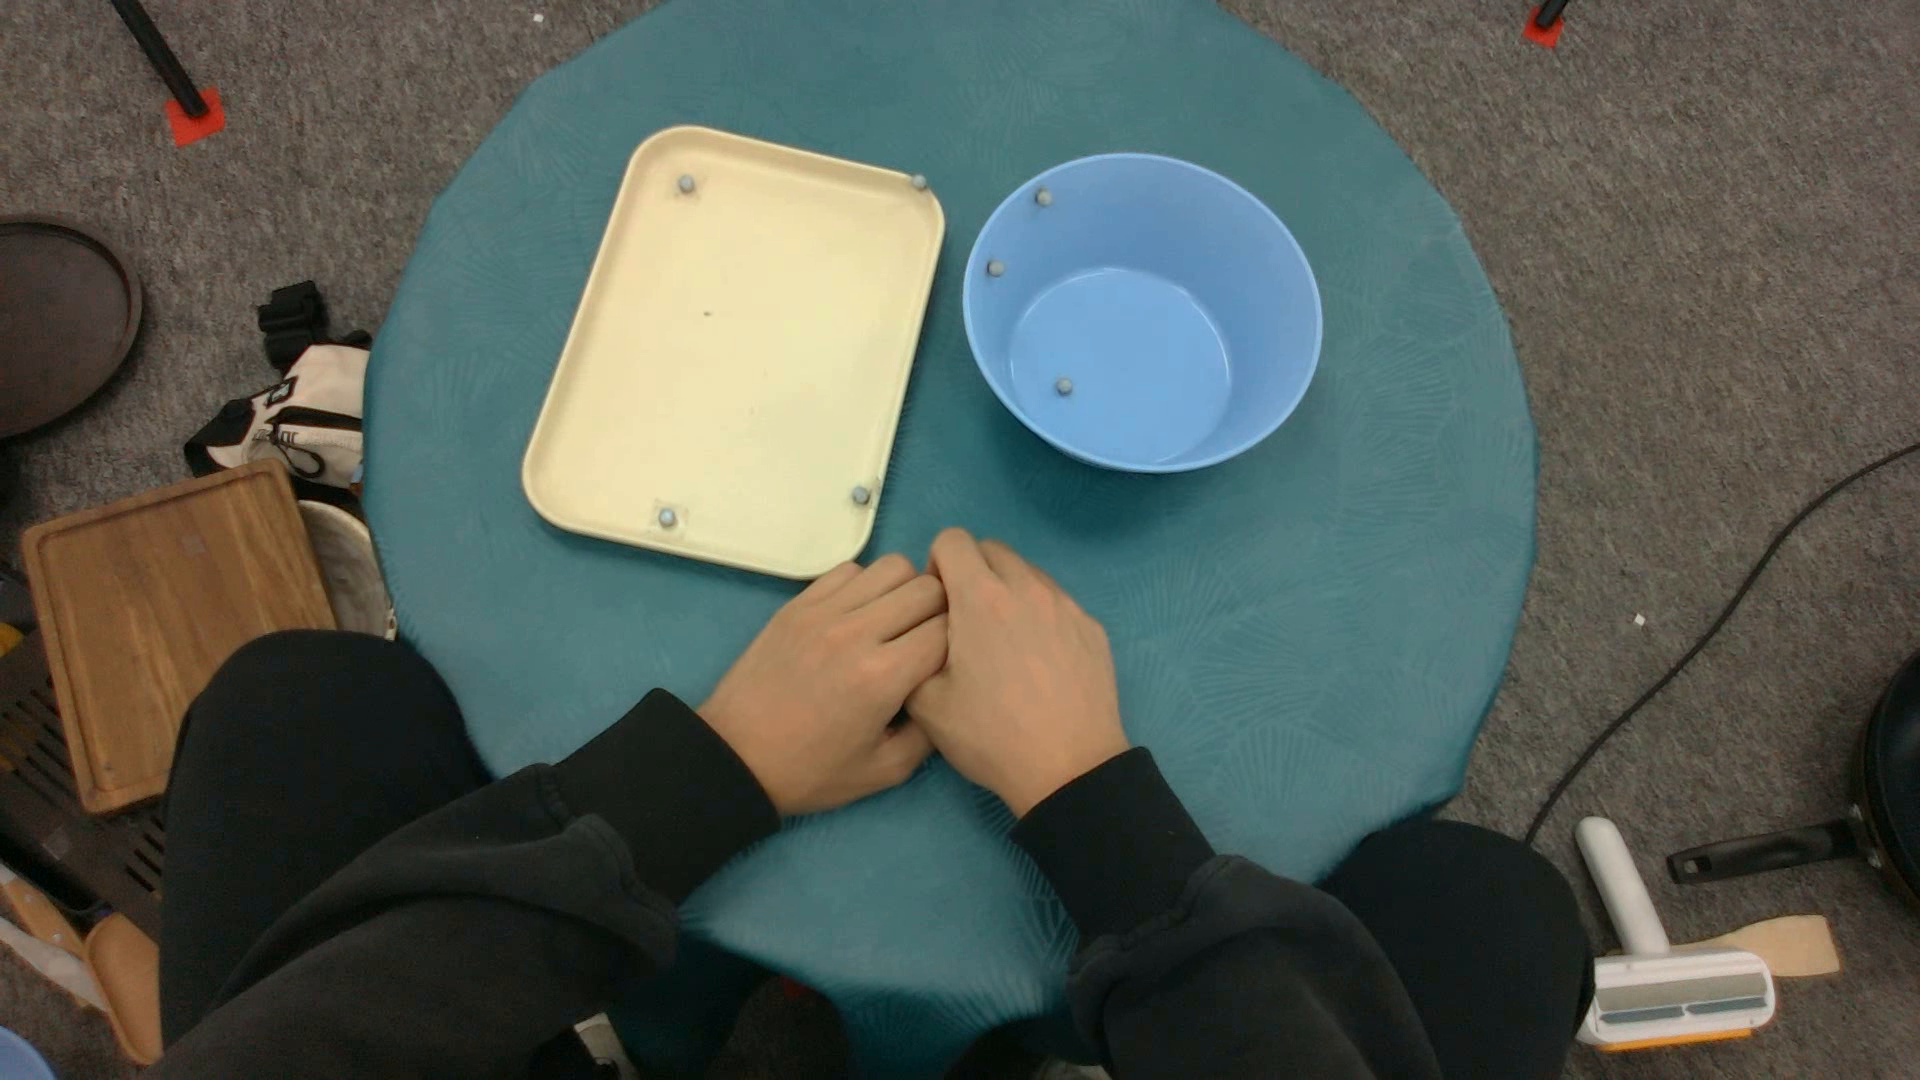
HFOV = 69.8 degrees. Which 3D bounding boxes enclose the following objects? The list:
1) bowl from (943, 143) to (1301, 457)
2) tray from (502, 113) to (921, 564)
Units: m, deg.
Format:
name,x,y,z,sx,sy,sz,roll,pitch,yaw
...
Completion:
name,x,y,z,sx,sy,sz,roll,pitch,yaw
bowl,0.077,-0.109,0.694,0.176,0.070,0.176,2,67,-5
tray,-0.120,-0.107,0.701,0.171,0.017,0.240,12,68,-1
